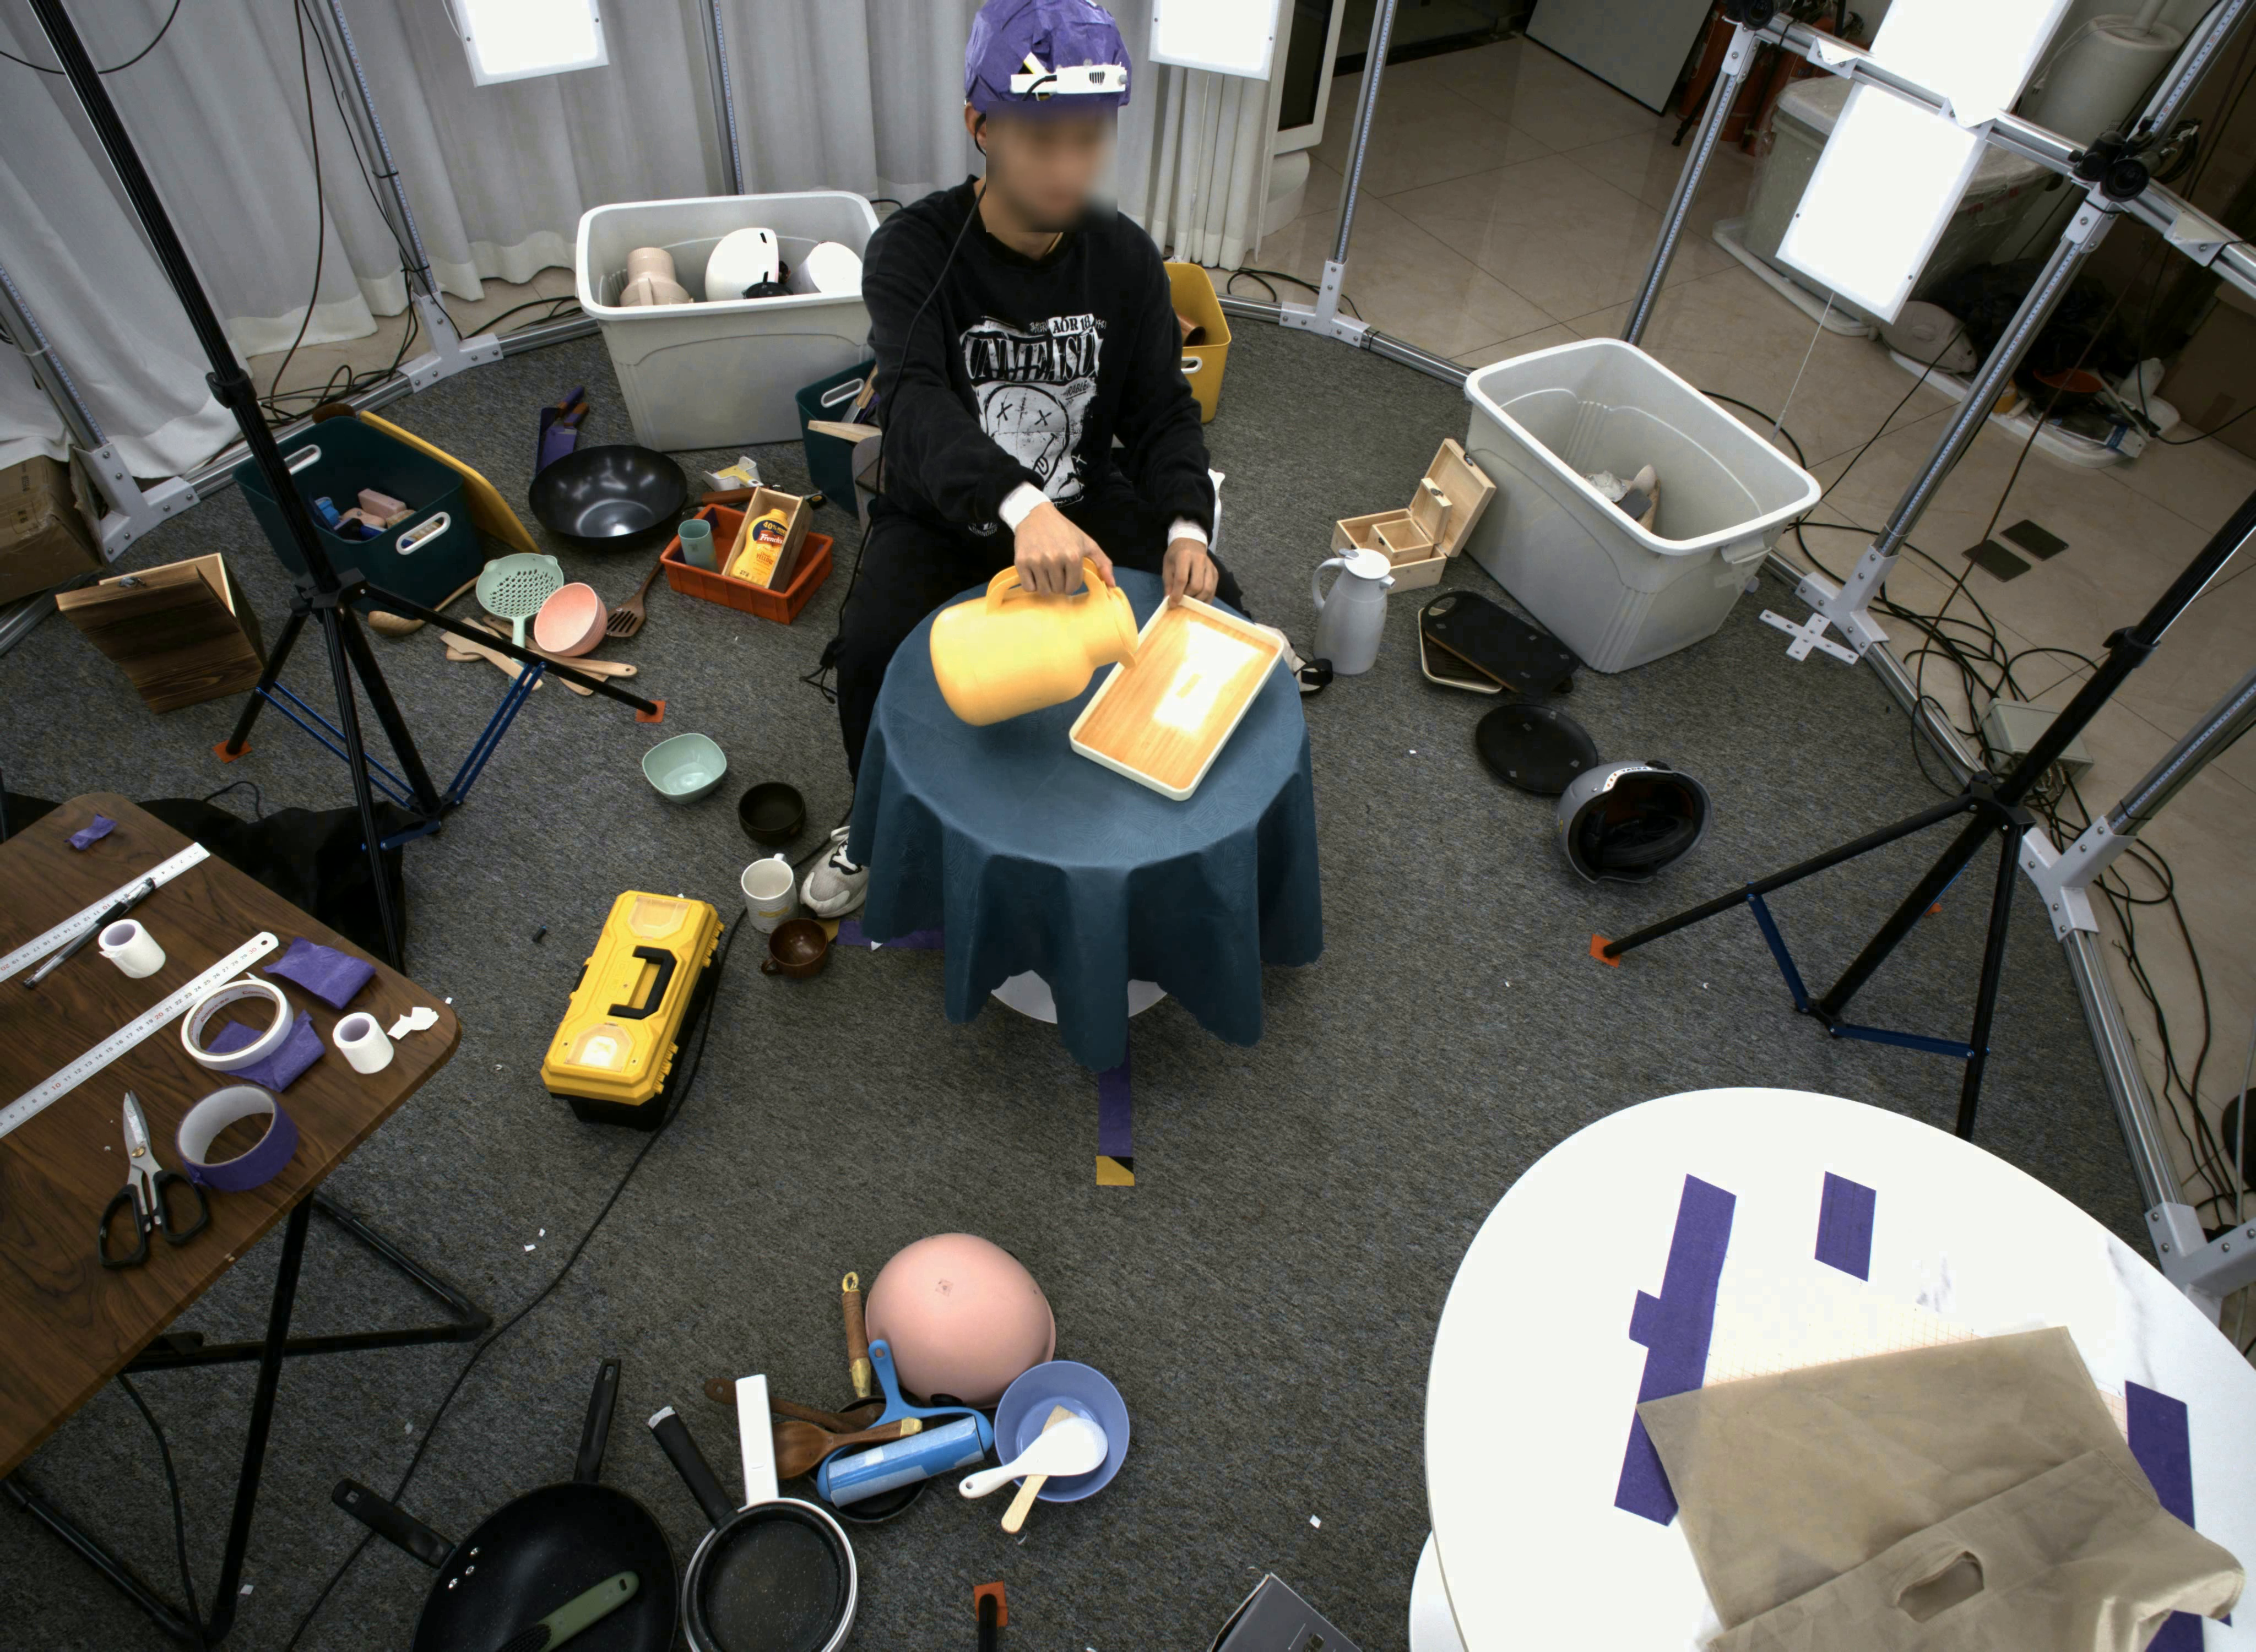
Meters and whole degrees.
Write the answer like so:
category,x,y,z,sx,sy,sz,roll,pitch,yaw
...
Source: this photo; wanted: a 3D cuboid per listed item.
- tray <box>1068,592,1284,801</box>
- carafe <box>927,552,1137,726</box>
category,x,y,z,sx,sy,sz,roll,pitch,yaw
tray,0.069,-0.185,1.782,0.193,0.027,0.304,26,63,17
carafe,-0.126,-0.249,1.662,0.260,0.197,0.167,-15,41,10
